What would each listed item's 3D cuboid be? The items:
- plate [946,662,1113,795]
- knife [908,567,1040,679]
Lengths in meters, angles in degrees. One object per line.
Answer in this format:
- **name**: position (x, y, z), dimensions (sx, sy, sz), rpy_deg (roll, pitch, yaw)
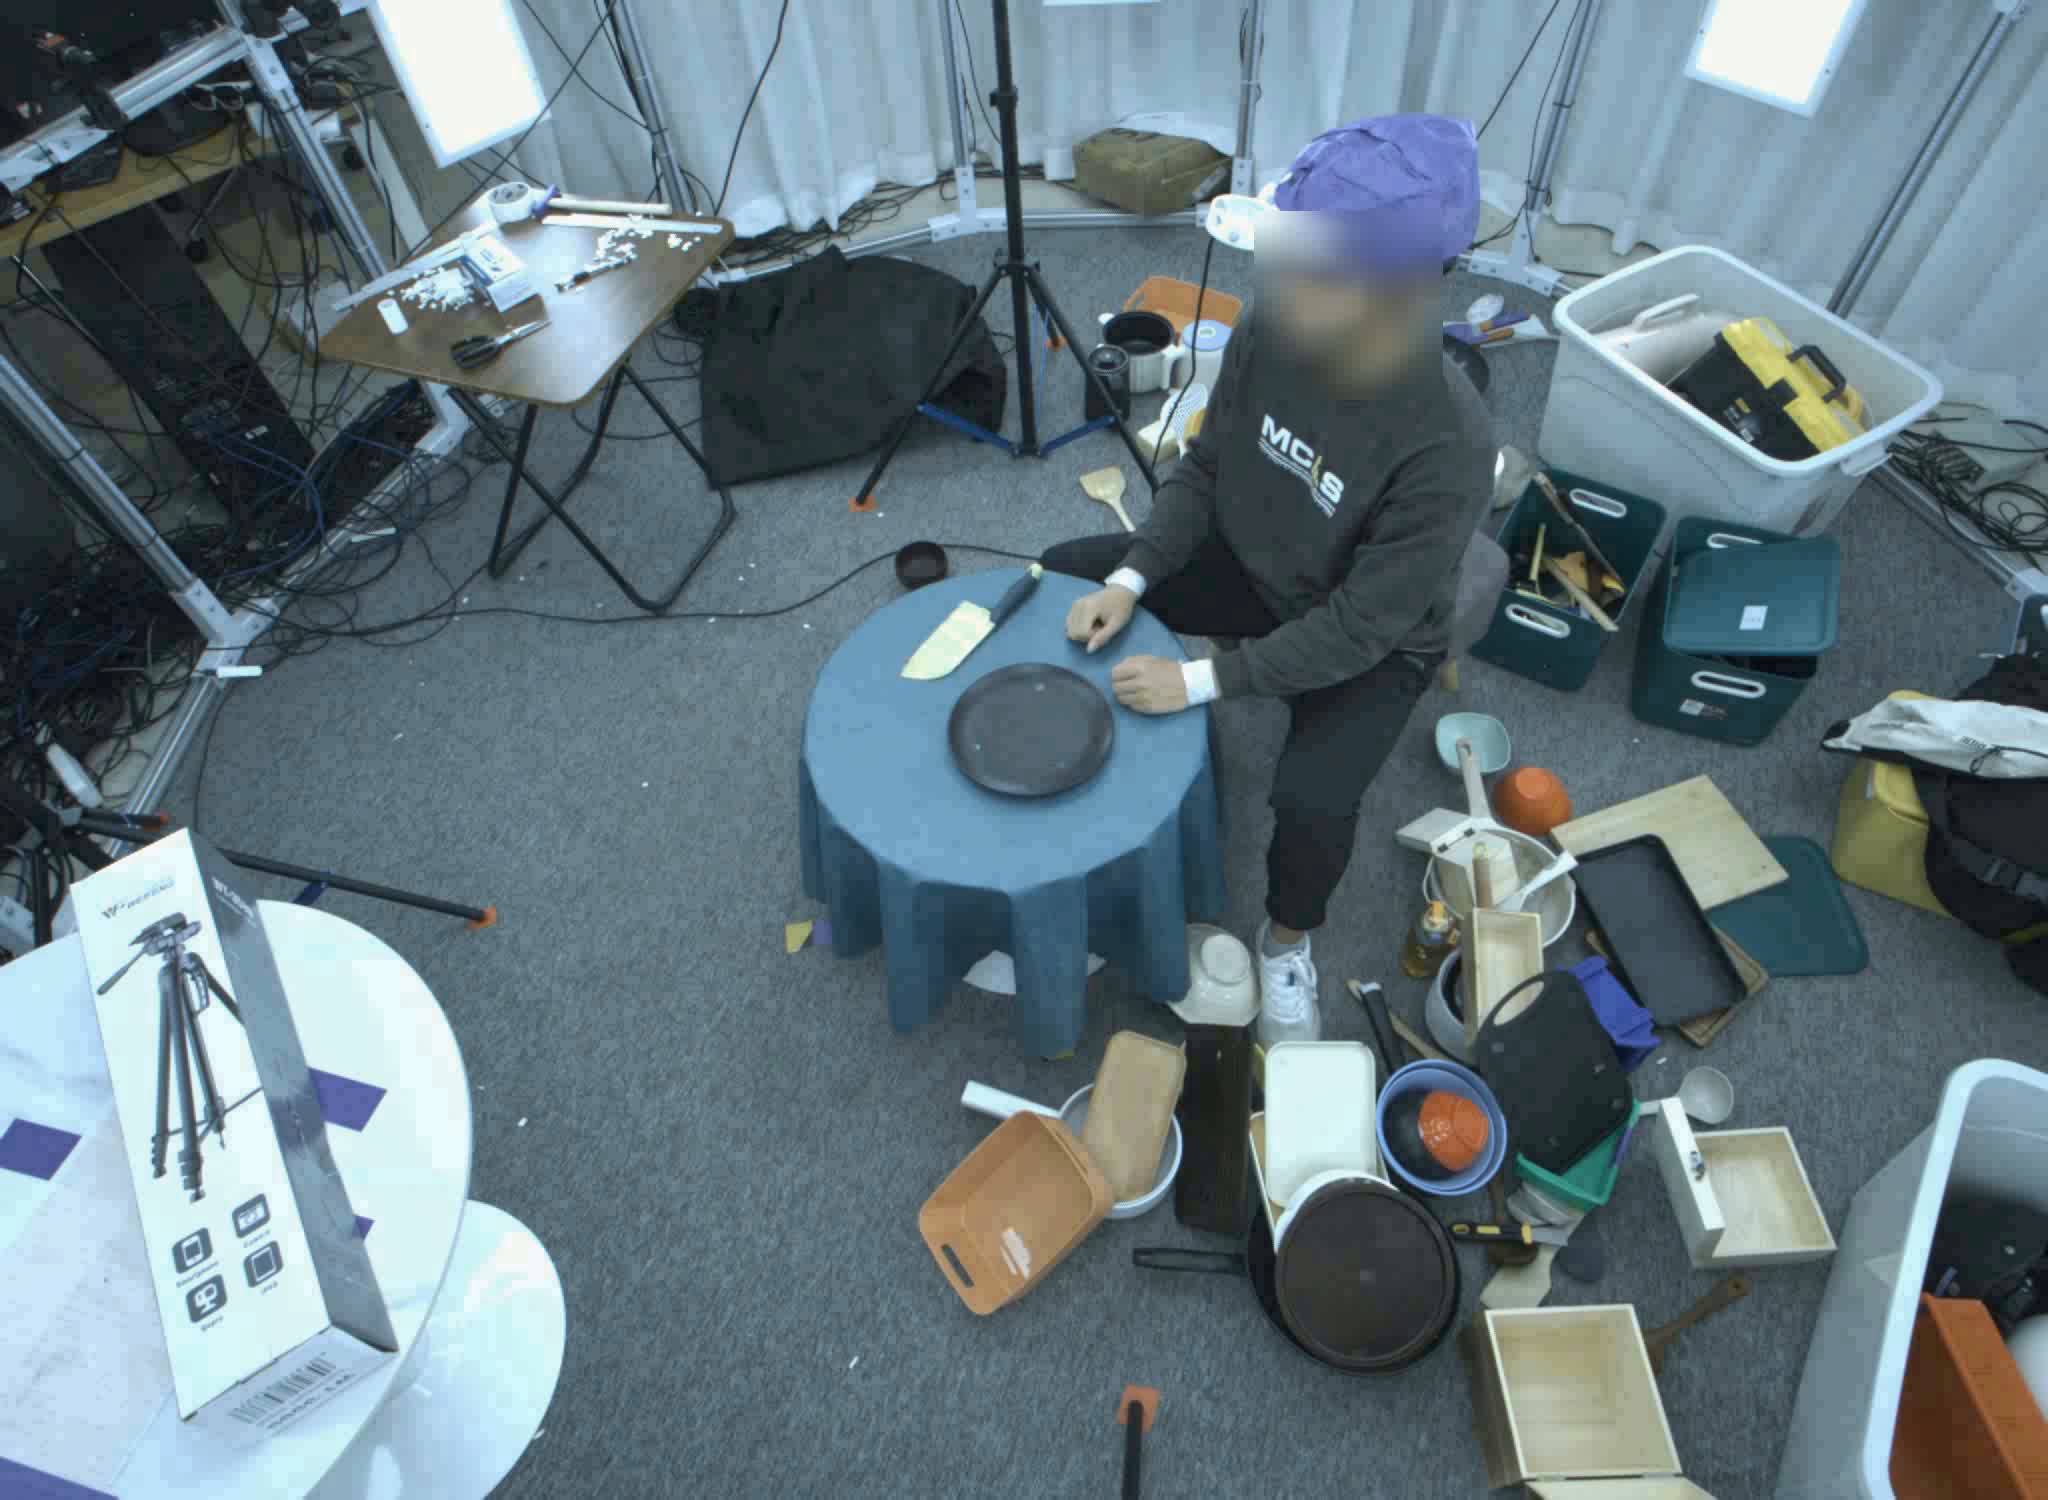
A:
- **plate**: position (0.008, -0.030, 1.802), dimensions (0.244, 0.023, 0.242), rpy_deg (0, 54, 1)
- **knife**: position (-0.079, -0.204, 1.934), dimensions (0.080, 0.027, 0.291), rpy_deg (35, 63, 21)
